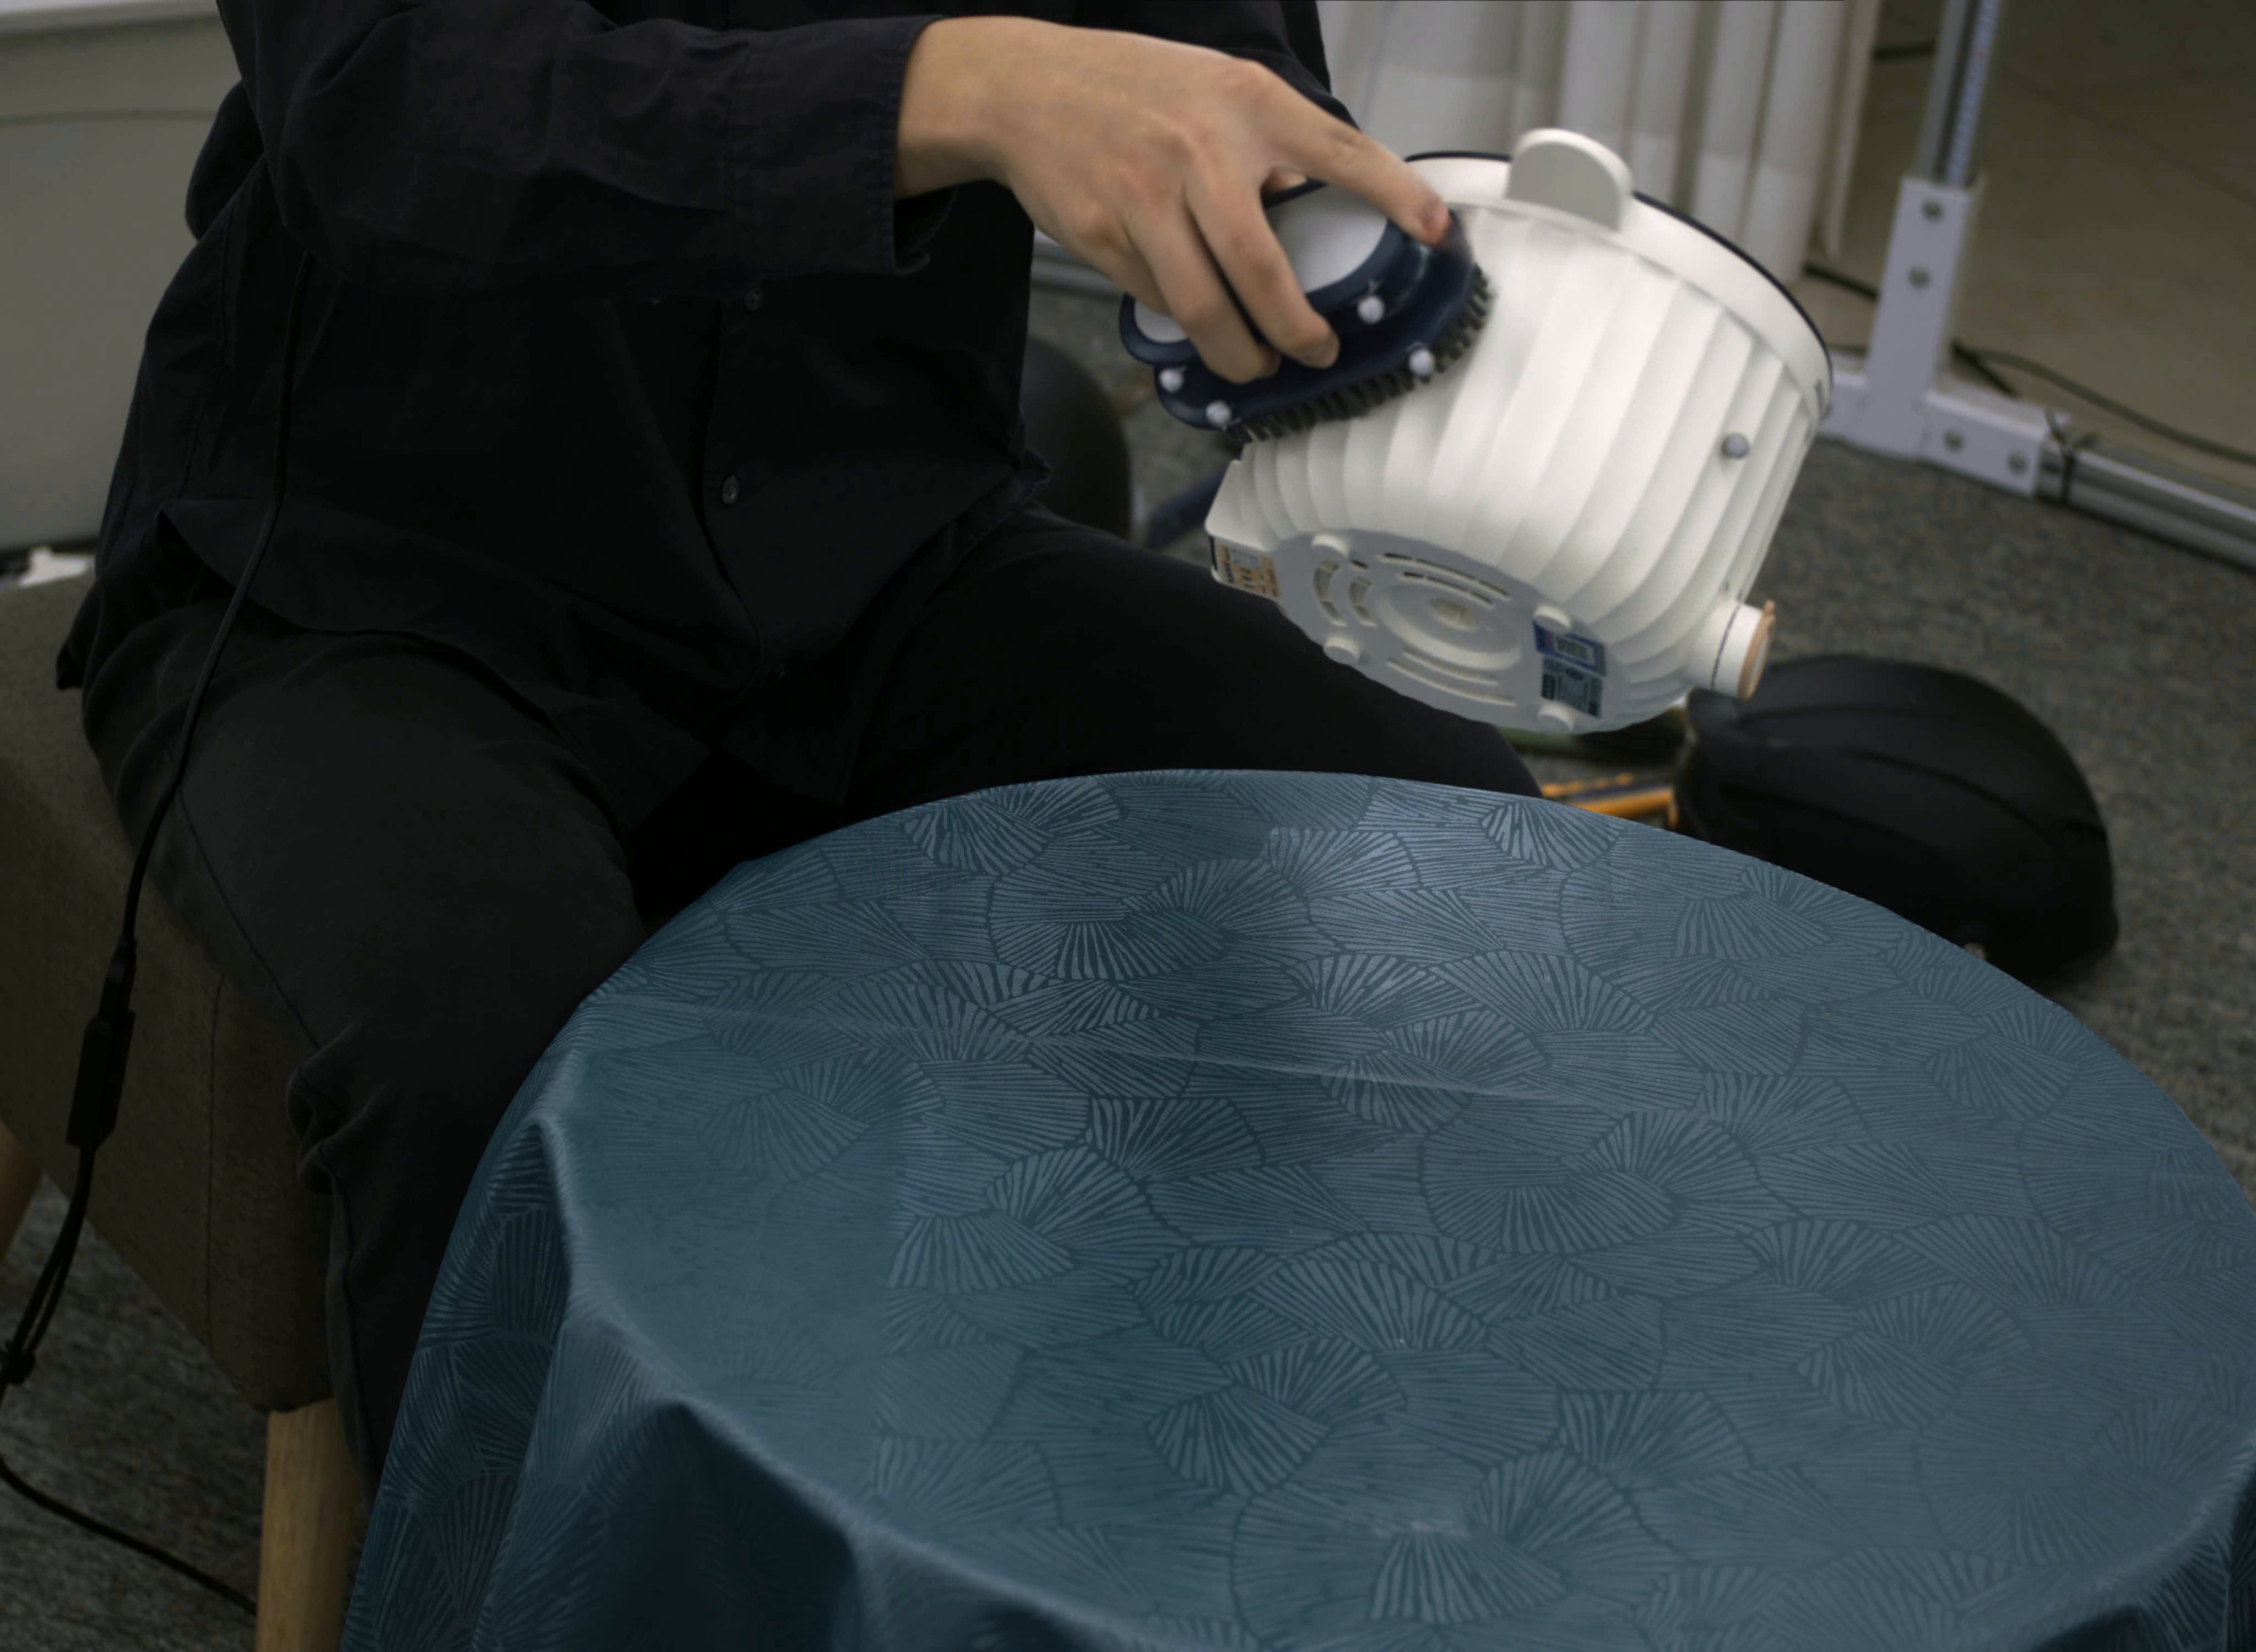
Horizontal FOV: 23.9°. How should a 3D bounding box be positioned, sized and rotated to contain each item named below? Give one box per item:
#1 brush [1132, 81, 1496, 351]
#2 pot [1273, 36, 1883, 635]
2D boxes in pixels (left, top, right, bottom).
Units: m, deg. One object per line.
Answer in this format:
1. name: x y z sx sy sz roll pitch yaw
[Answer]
1. brush: 0.063 -0.198 1.755 0.122 0.060 0.068 -13 54 30
2. pot: 0.158 -0.154 1.836 0.191 0.239 0.143 16 70 12
